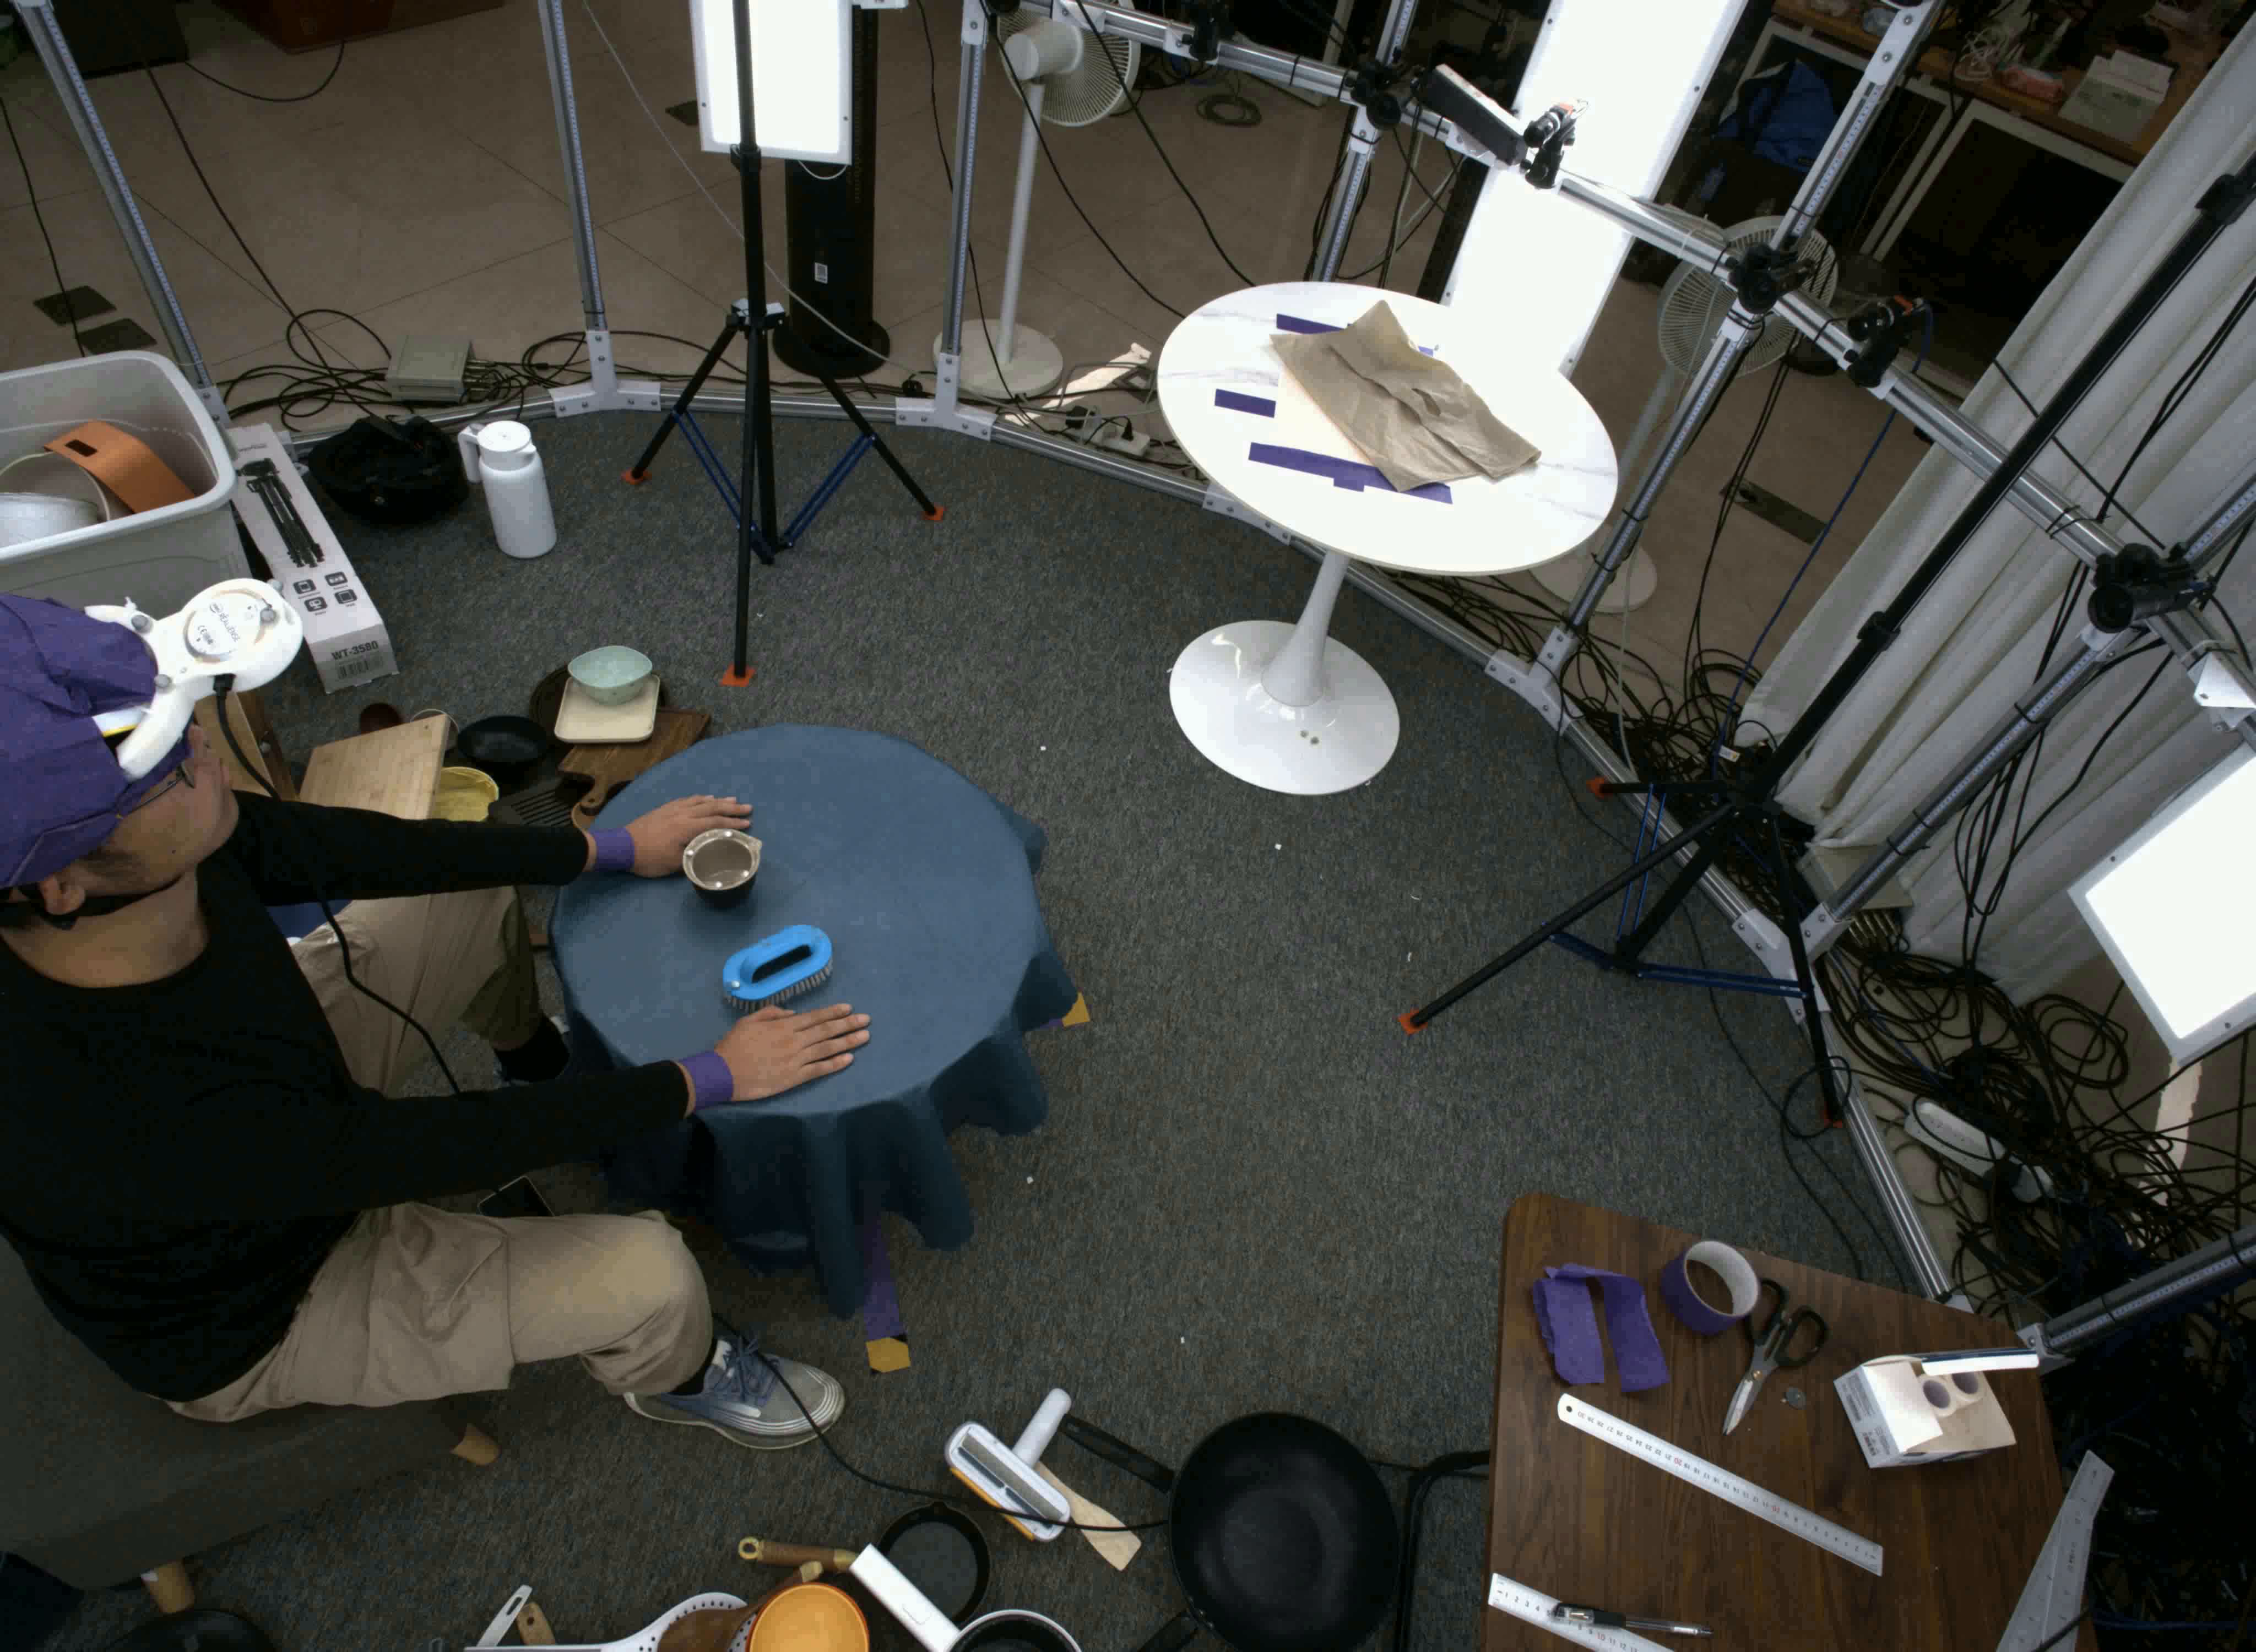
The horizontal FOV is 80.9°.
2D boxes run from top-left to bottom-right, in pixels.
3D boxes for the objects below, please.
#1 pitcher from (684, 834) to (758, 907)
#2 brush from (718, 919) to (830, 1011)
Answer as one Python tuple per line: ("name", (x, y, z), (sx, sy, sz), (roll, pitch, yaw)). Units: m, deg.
("pitcher", (-0.507, 0.057, 1.616), (0.096, 0.073, 0.081), (-21, 59, -28))
("brush", (-0.426, 0.160, 1.566), (0.142, 0.065, 0.082), (-27, 67, -28))
